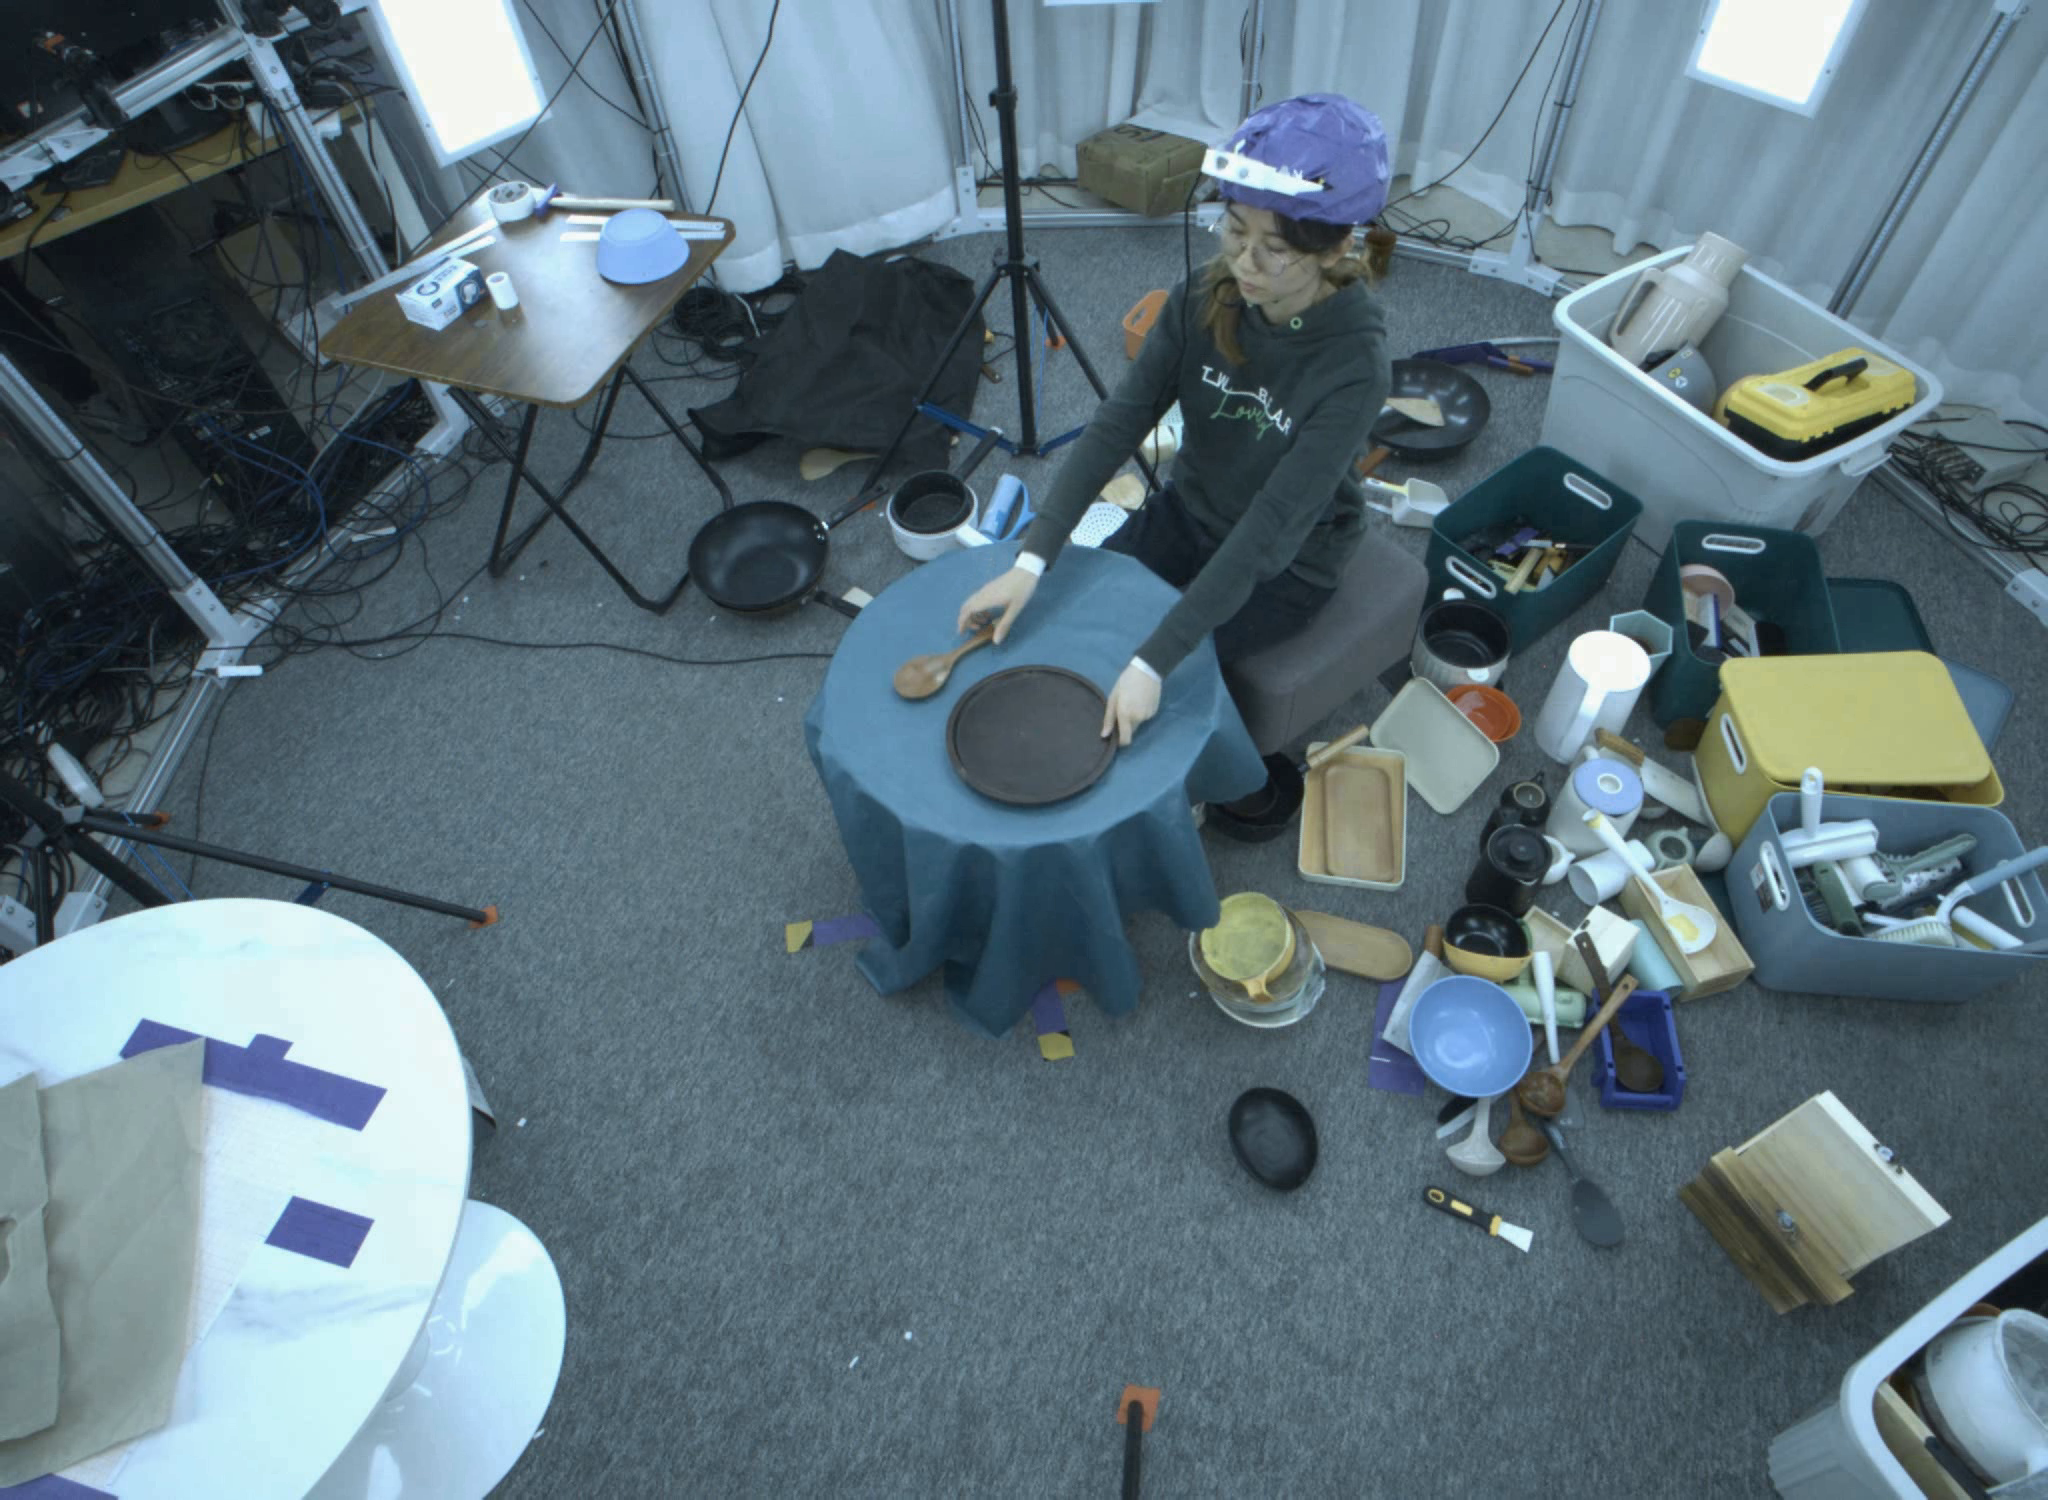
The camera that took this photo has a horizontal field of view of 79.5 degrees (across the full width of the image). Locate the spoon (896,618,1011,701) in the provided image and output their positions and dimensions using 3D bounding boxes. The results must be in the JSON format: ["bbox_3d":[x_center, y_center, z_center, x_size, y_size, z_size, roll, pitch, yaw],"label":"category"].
[{"bbox_3d":[-0.105,-0.140,1.889,0.217,0.017,0.074,-37,61,-22],"label":"spoon"}]

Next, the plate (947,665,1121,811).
[{"bbox_3d":[0.015,-0.017,1.796,0.254,0.029,0.252,0,56,2],"label":"plate"}]
